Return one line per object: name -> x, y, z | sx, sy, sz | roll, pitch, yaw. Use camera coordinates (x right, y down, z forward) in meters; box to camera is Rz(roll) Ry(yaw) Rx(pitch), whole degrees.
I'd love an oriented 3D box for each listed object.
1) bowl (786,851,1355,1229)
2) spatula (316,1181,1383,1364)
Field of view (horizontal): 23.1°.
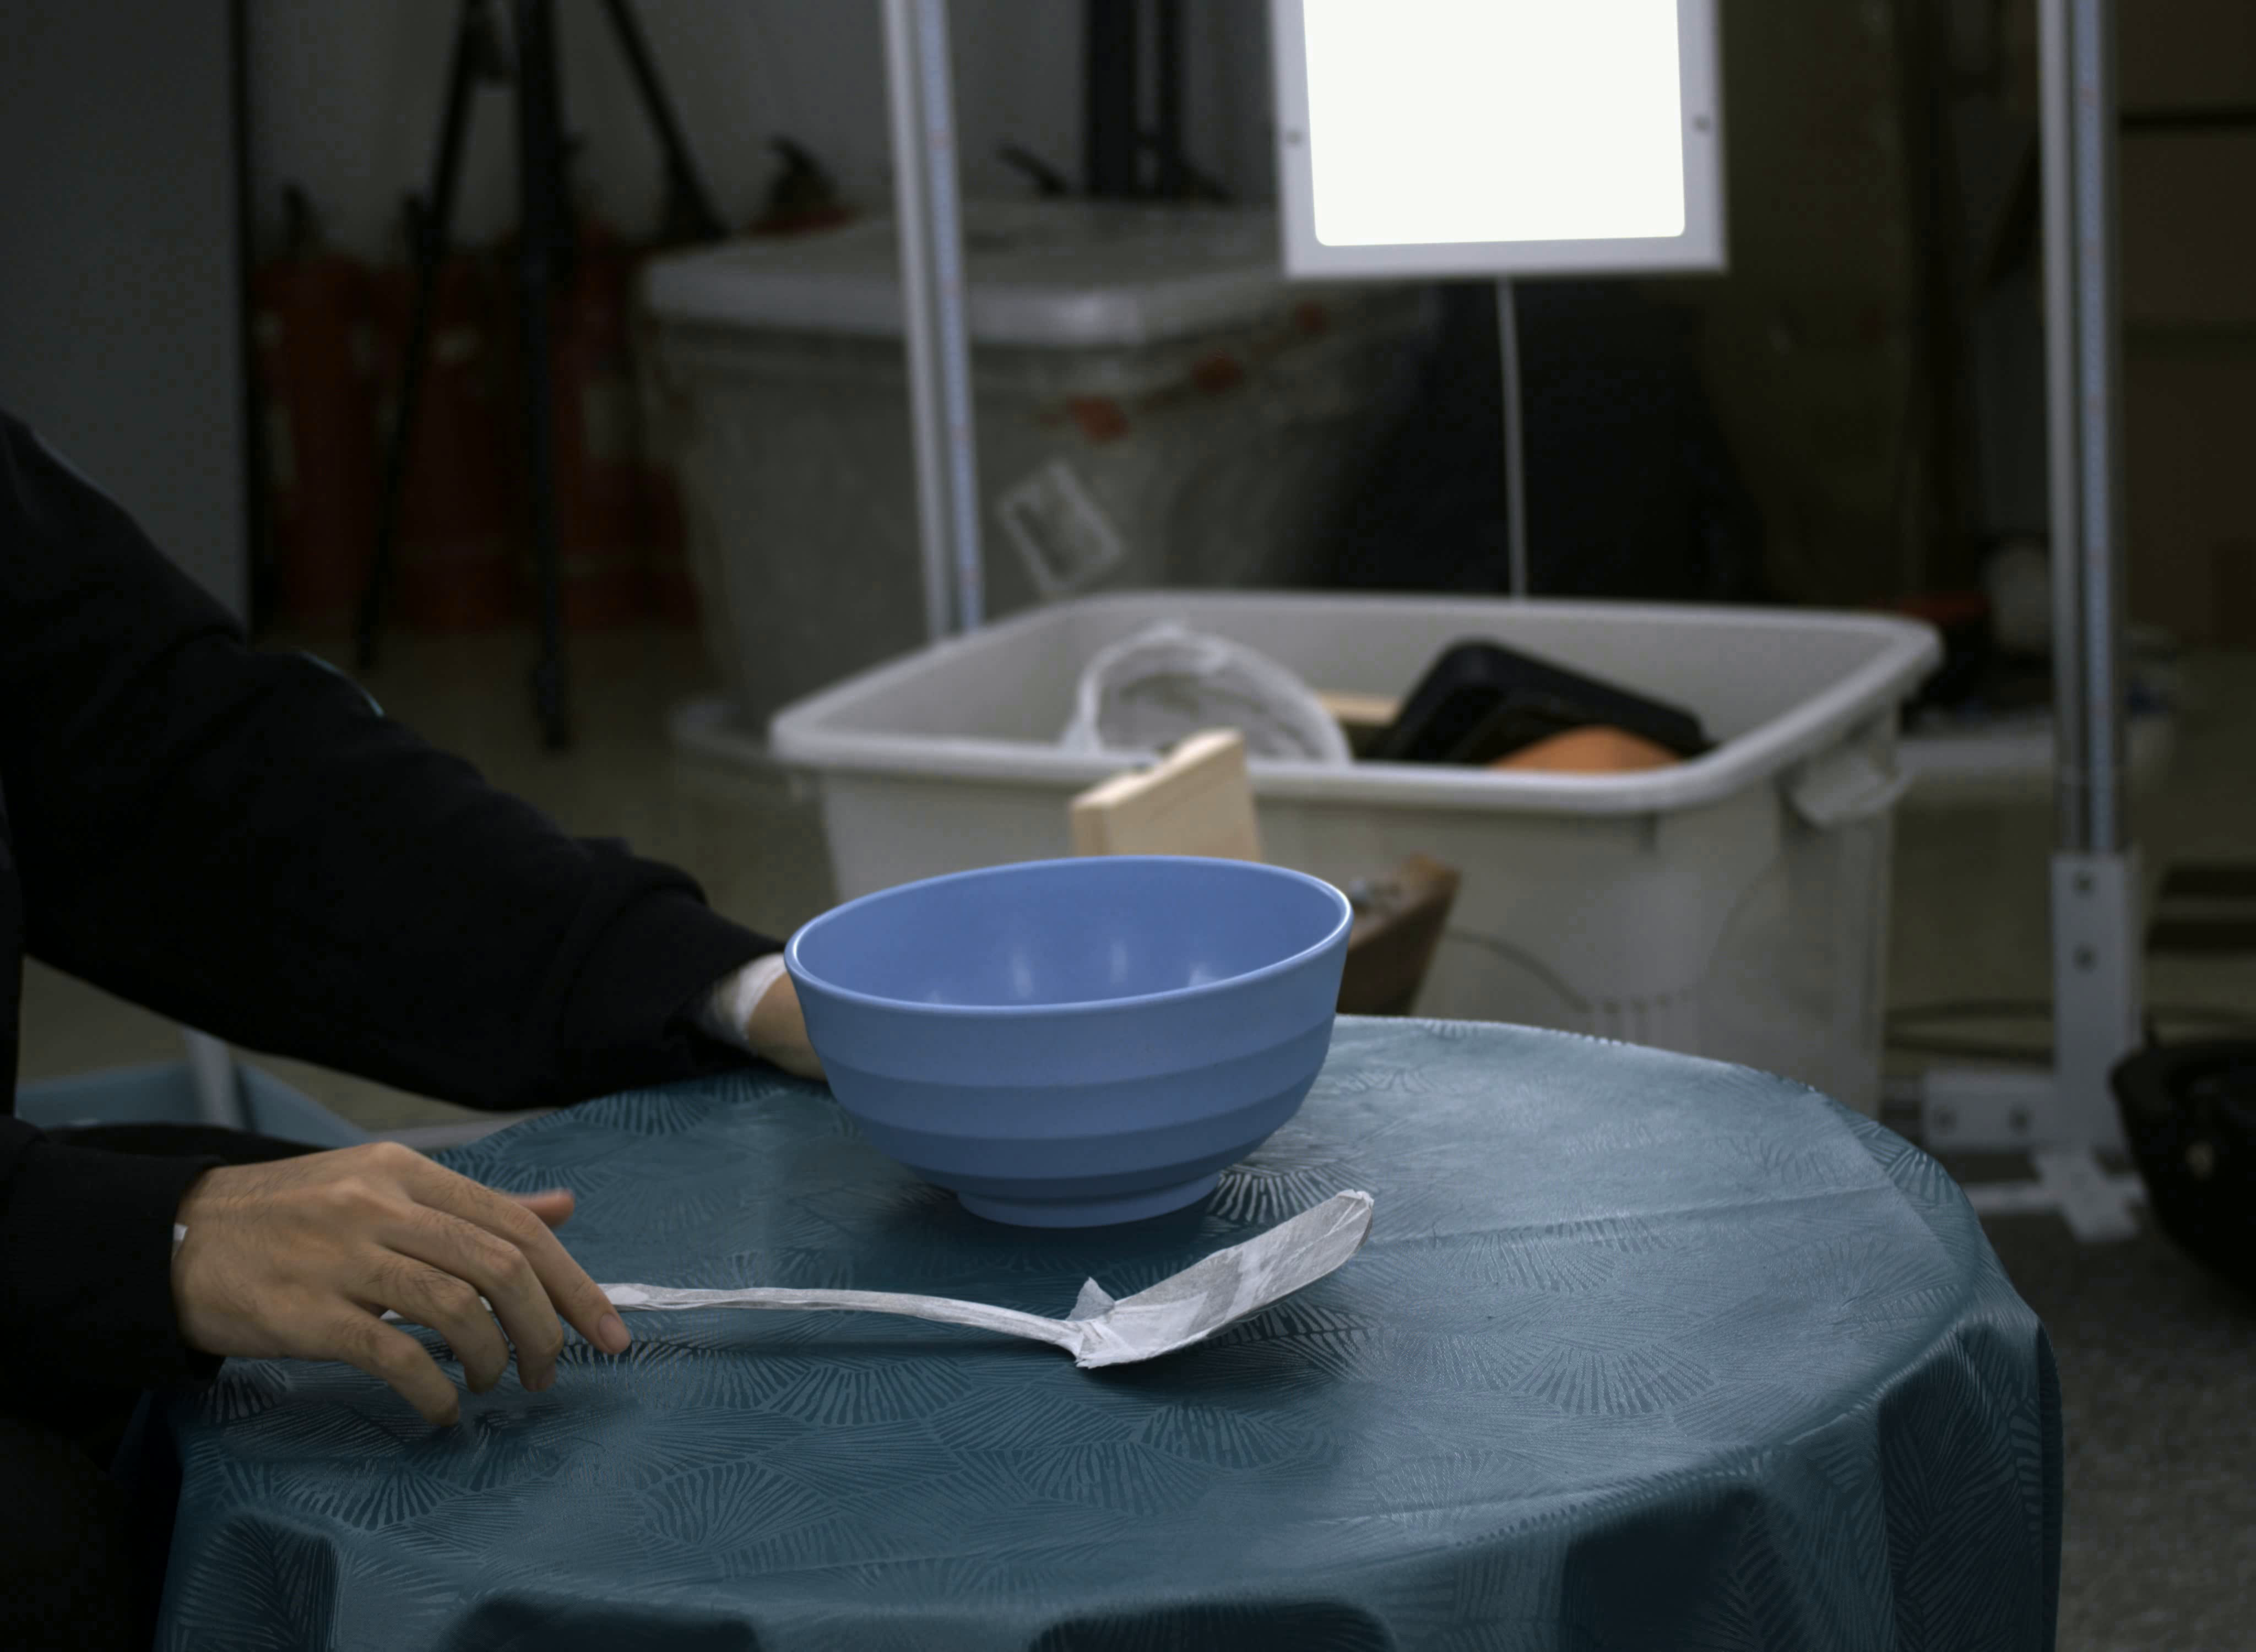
bowl -> -0.017, 0.079, 1.896 | 0.196, 0.096, 0.196 | -4, 14, 0
spatula -> -0.097, 0.147, 1.768 | 0.368, 0.045, 0.097 | -1, 16, 16
